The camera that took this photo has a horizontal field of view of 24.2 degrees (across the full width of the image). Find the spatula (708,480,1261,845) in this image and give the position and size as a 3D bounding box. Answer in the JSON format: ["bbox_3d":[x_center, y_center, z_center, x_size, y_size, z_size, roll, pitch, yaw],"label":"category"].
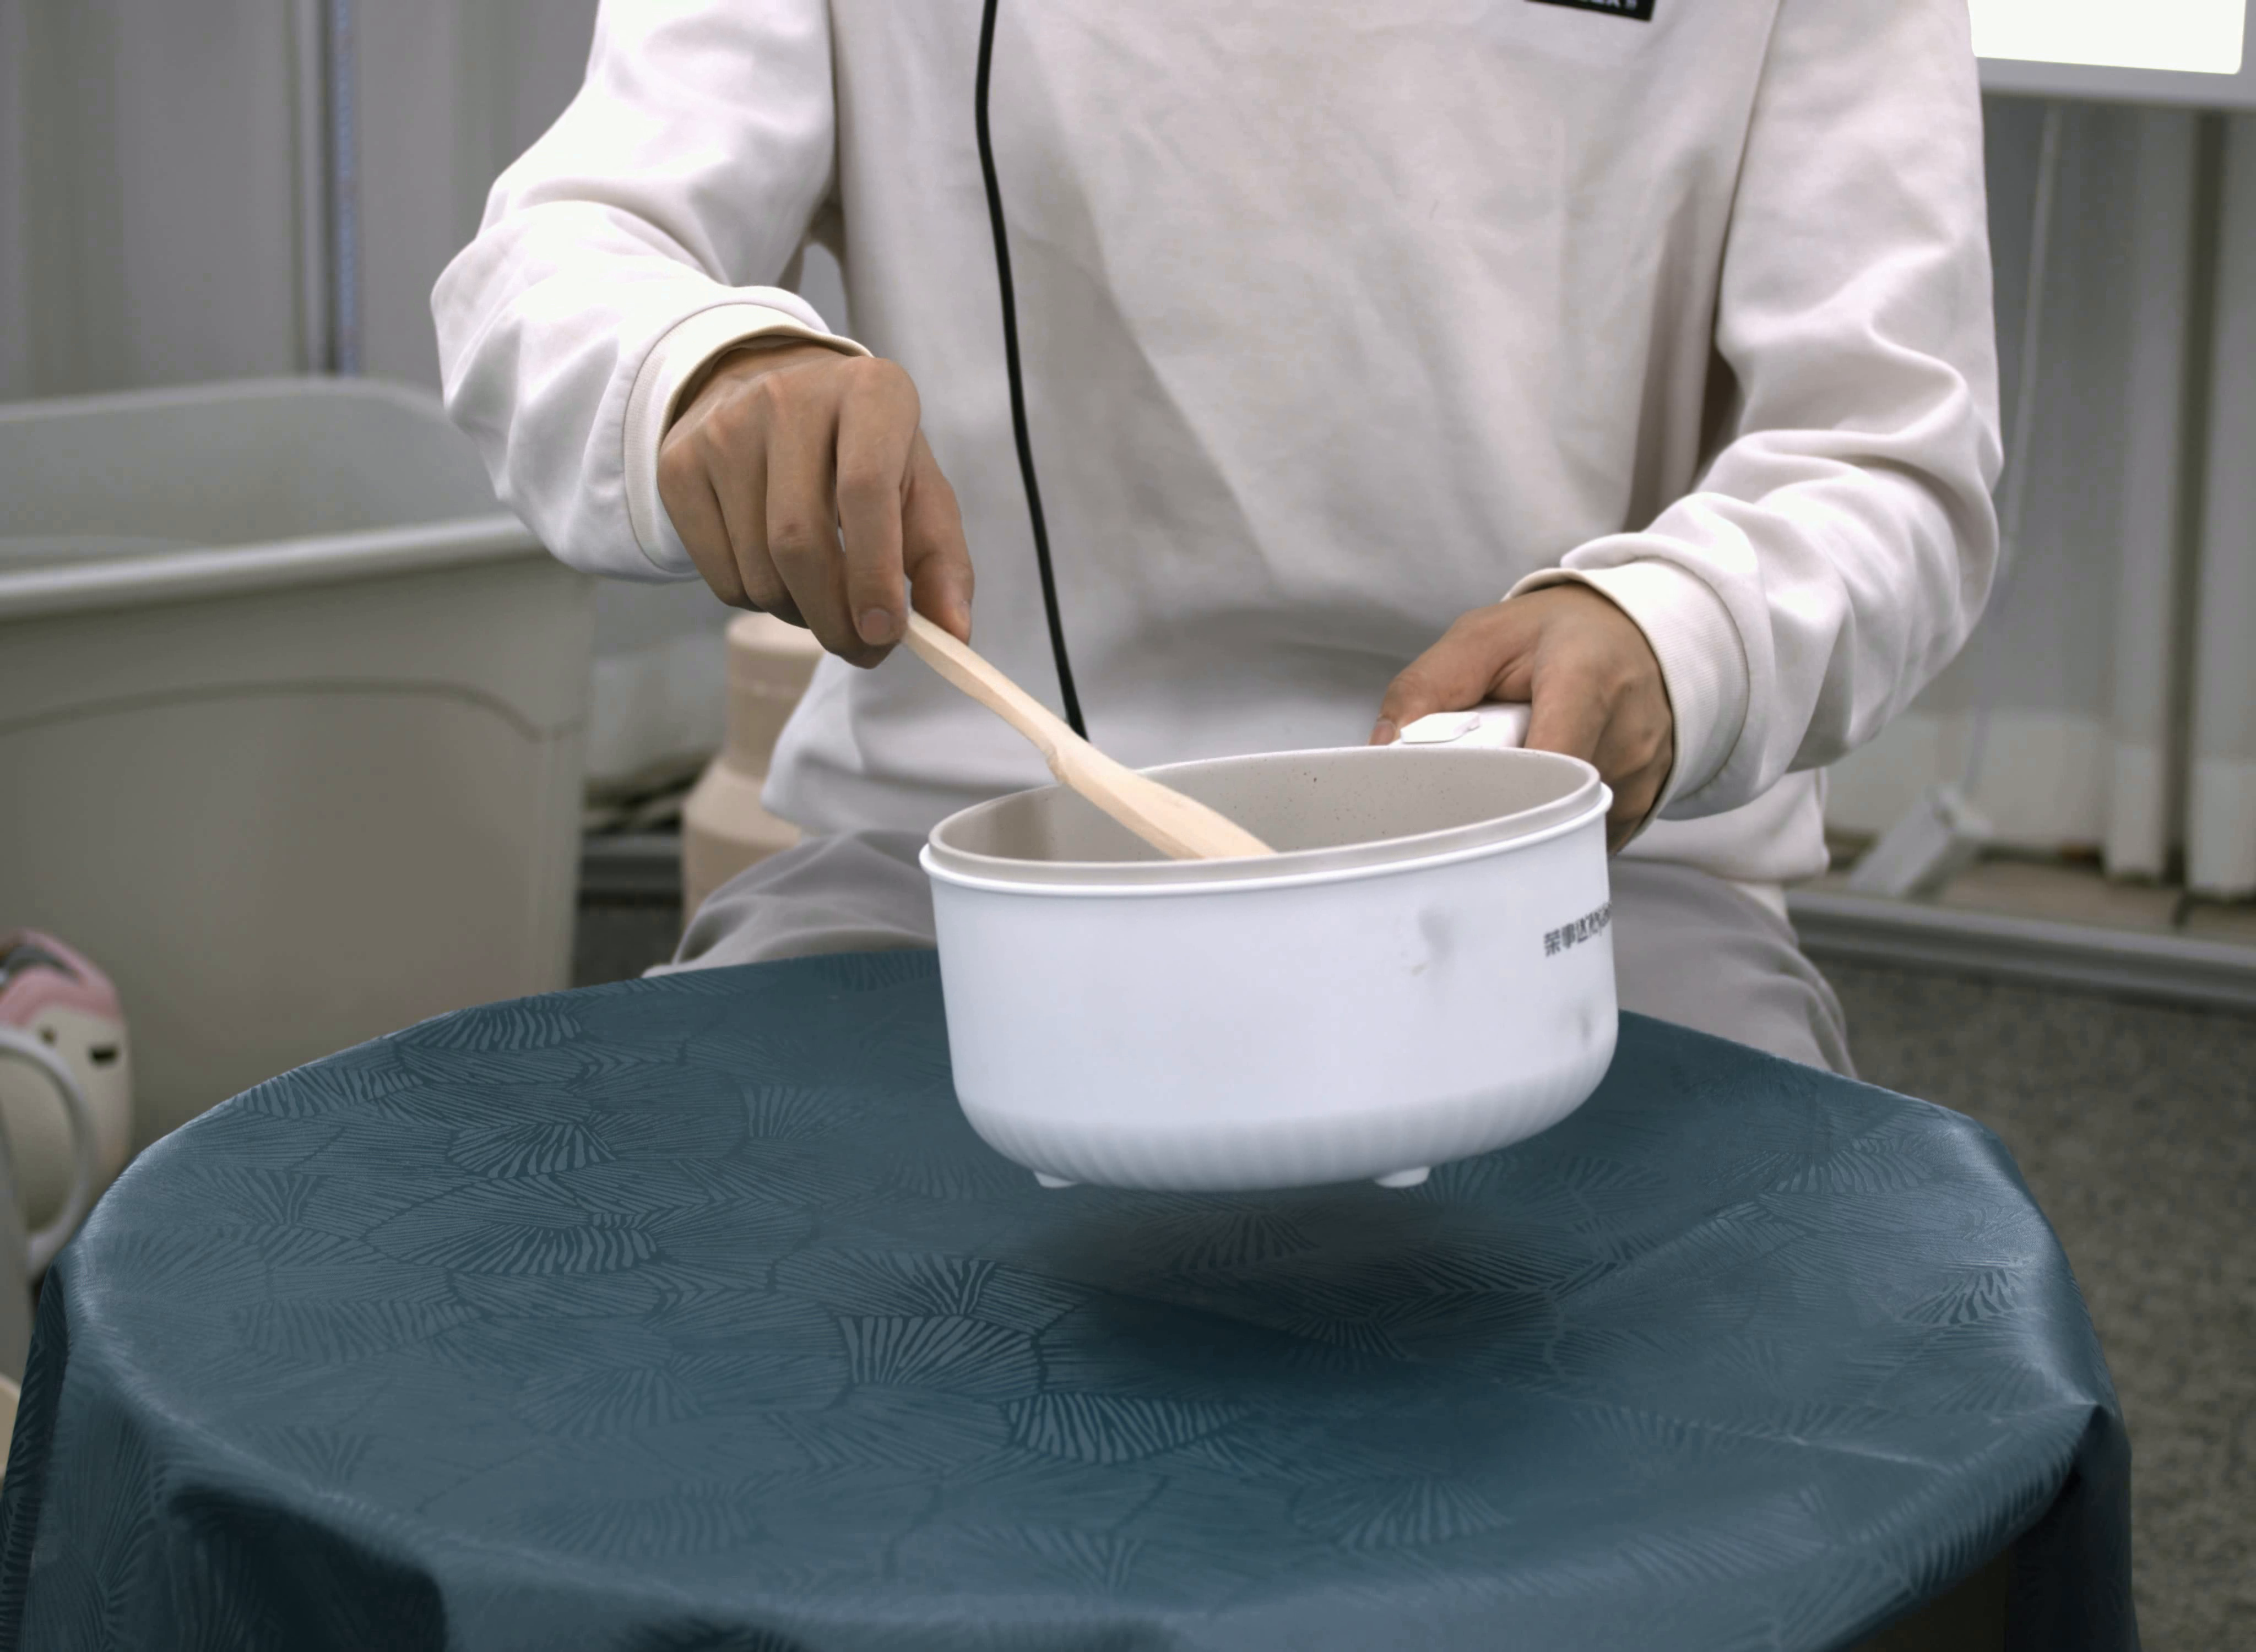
[{"bbox_3d":[-0.041,-0.042,1.586,0.073,0.011,0.289,18,14,-48],"label":"spatula"}]

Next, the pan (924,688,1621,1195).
[{"bbox_3d":[0.073,0.031,1.598,0.199,0.103,0.356,-3,9,22],"label":"pan"}]
